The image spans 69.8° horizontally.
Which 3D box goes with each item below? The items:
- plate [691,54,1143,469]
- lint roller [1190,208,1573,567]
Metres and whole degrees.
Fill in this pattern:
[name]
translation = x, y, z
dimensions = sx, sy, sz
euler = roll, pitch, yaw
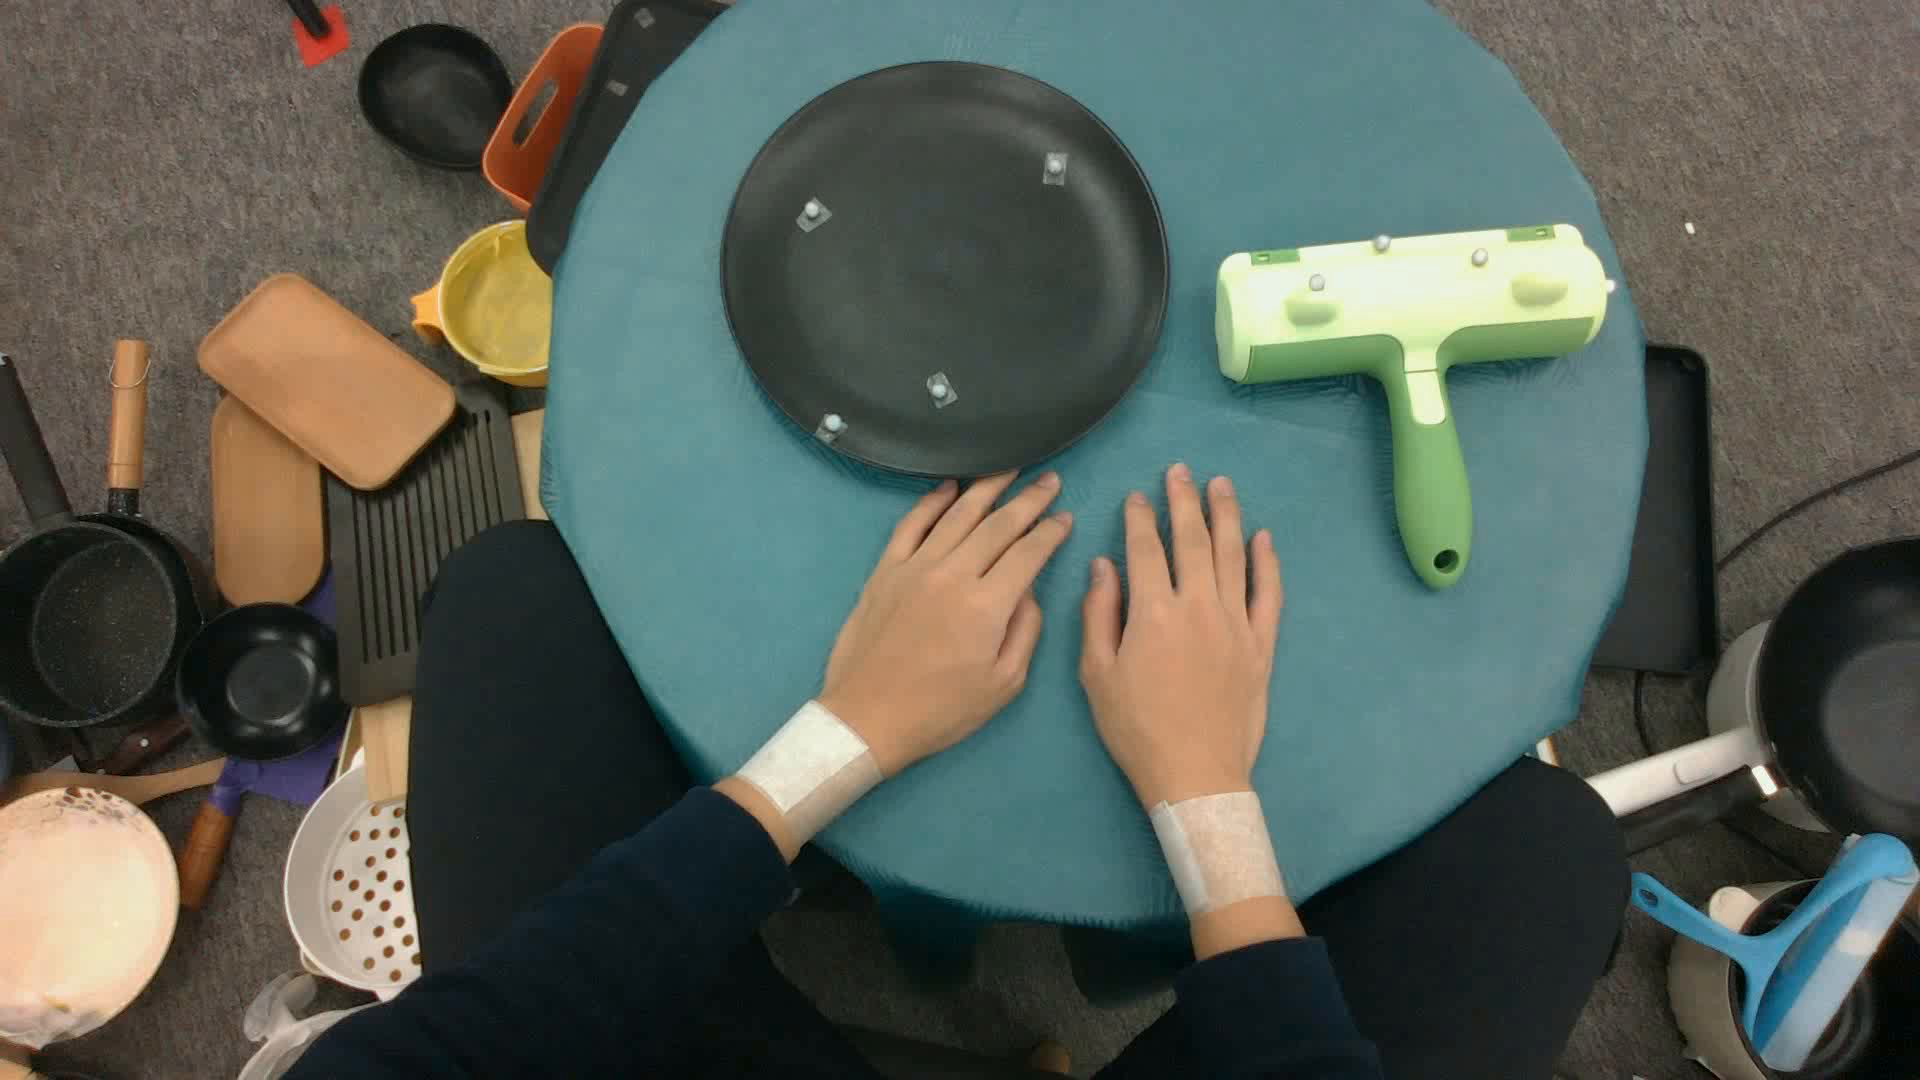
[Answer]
[plate]
translation = -0.023, -0.152, 0.751
dimensions = 0.244, 0.023, 0.245
euler = 0, 76, -2
[lint roller]
translation = 0.230, -0.082, 0.709
dimensions = 0.198, 0.082, 0.184
euler = -7, 69, -3
